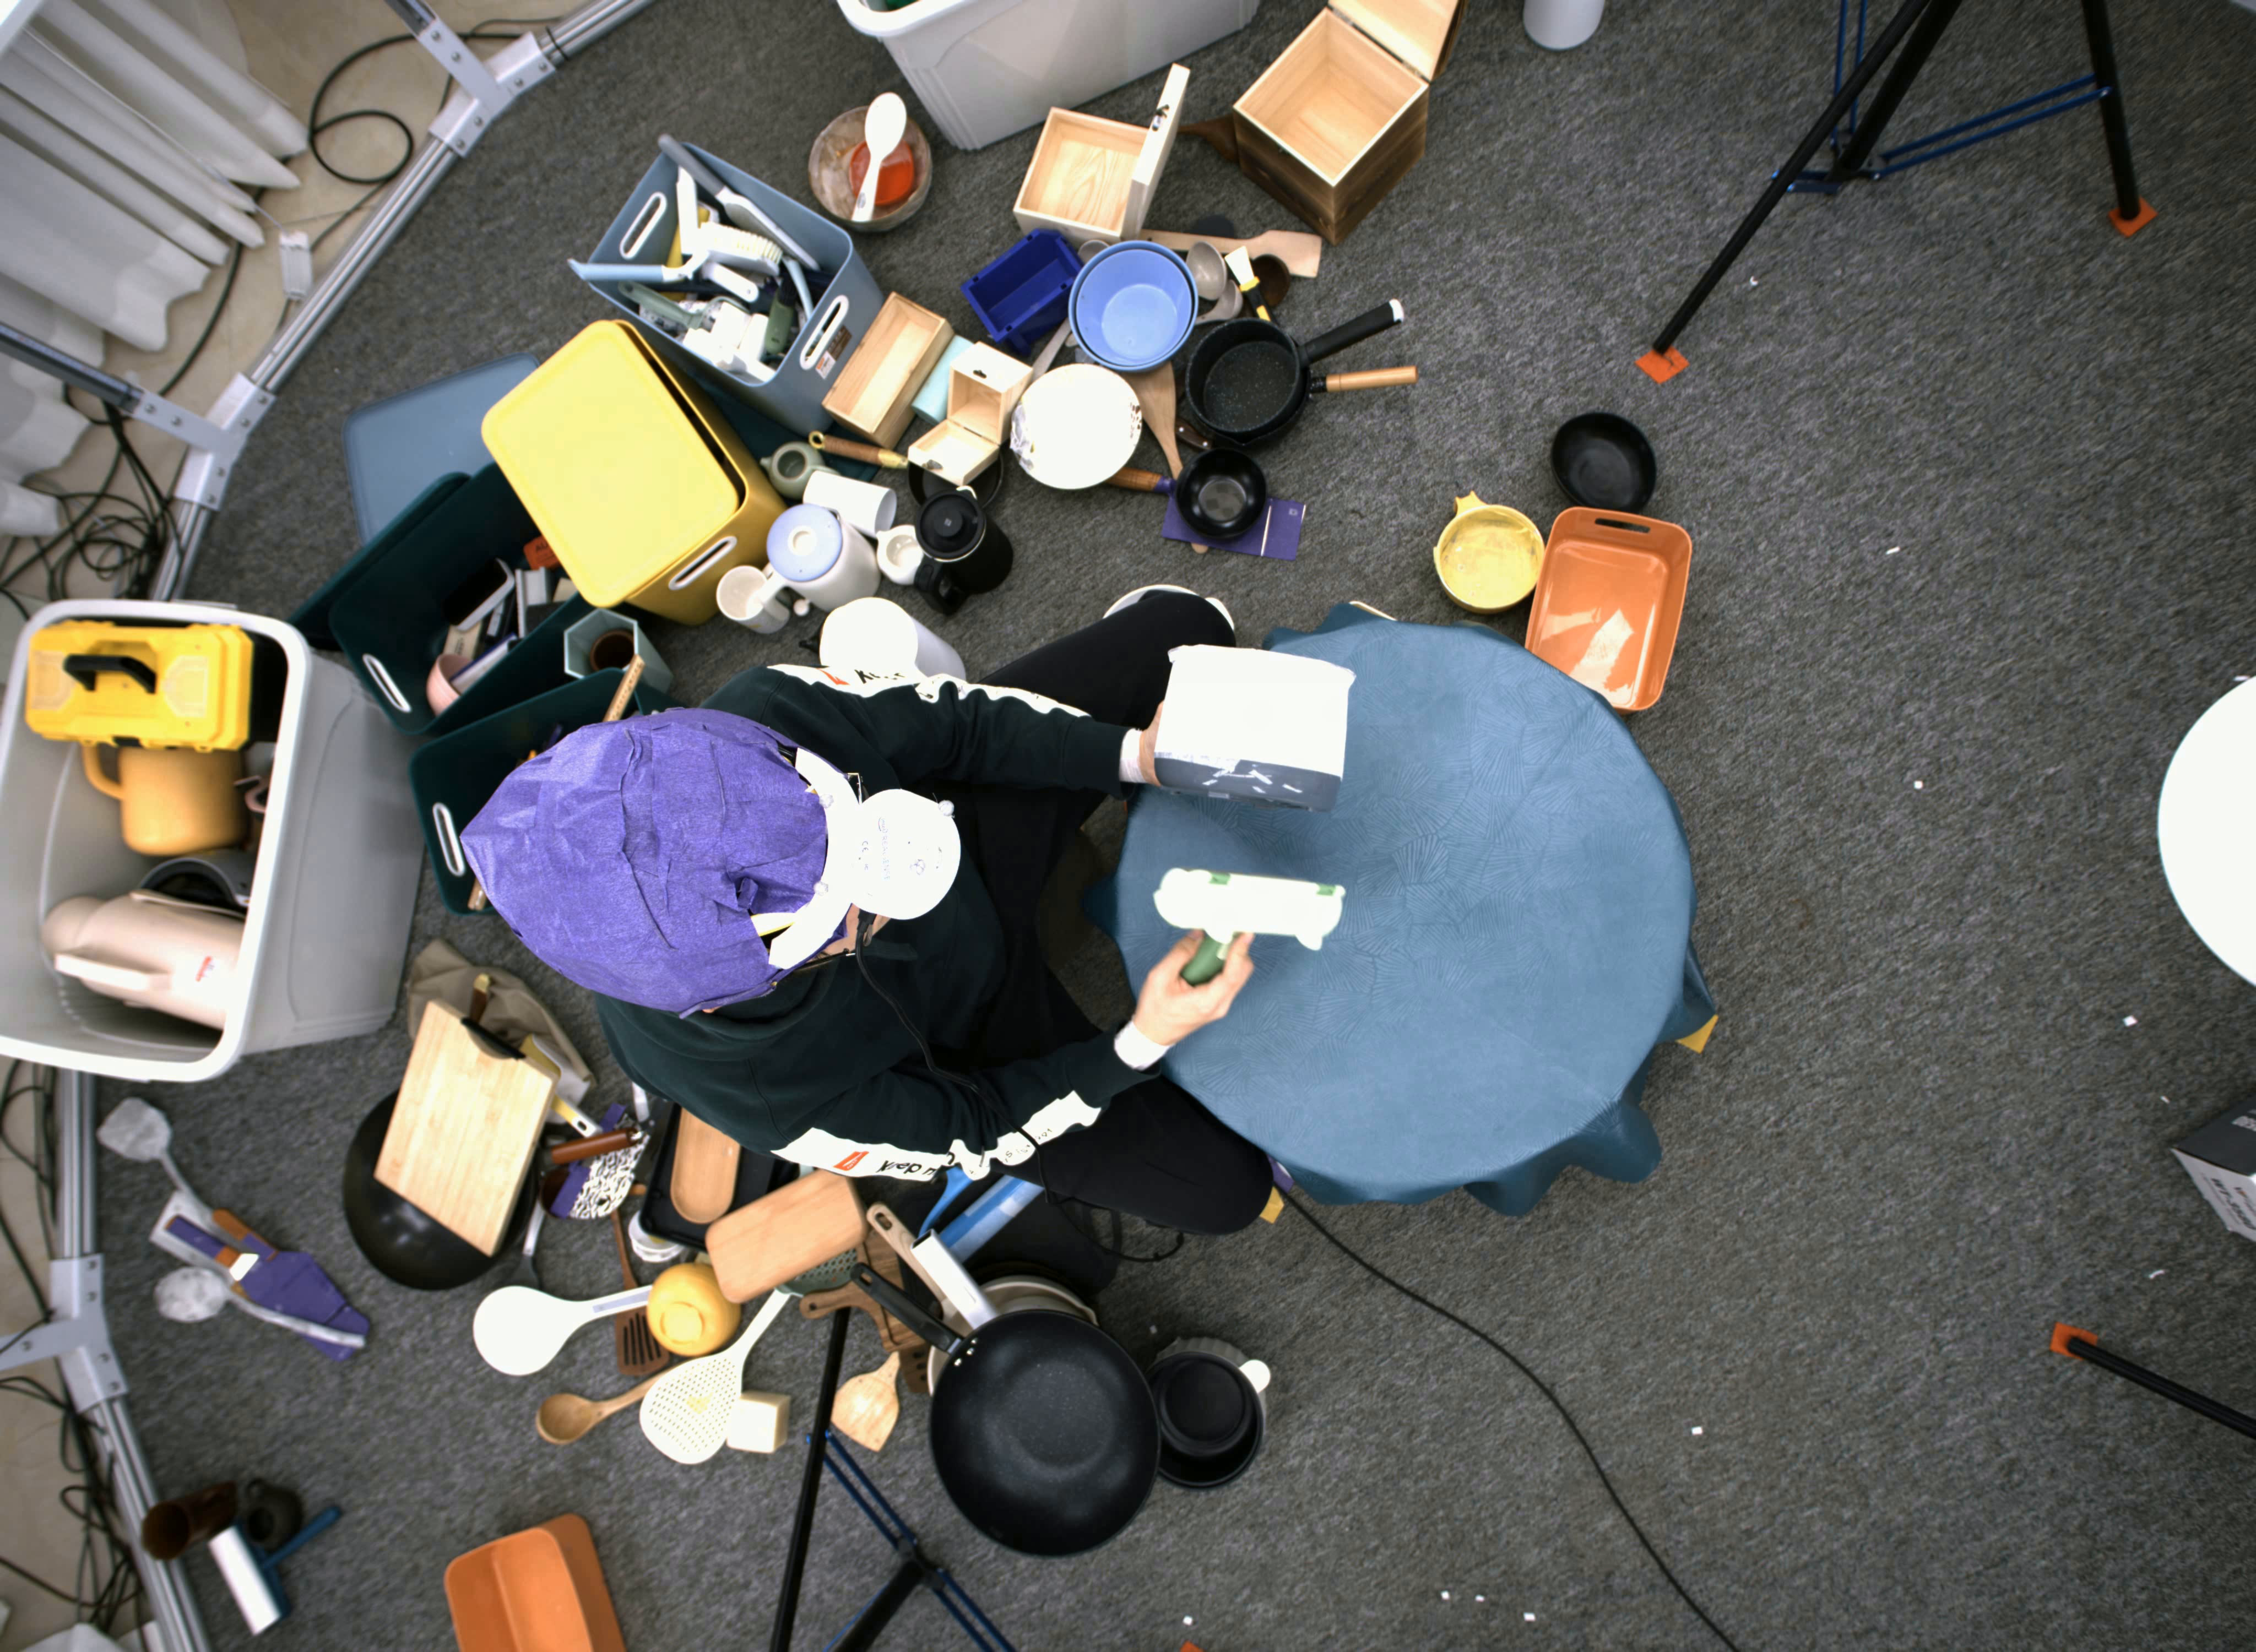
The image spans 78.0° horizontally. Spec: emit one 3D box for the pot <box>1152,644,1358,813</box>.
[{"bbox_3d":[0.105,-0.091,1.305,0.178,0.234,0.136,8,91,-23],"label":"pot"}]

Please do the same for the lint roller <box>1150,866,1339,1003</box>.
[{"bbox_3d":[0.093,0.118,1.330,0.081,0.198,0.187,54,126,42],"label":"lint roller"}]
